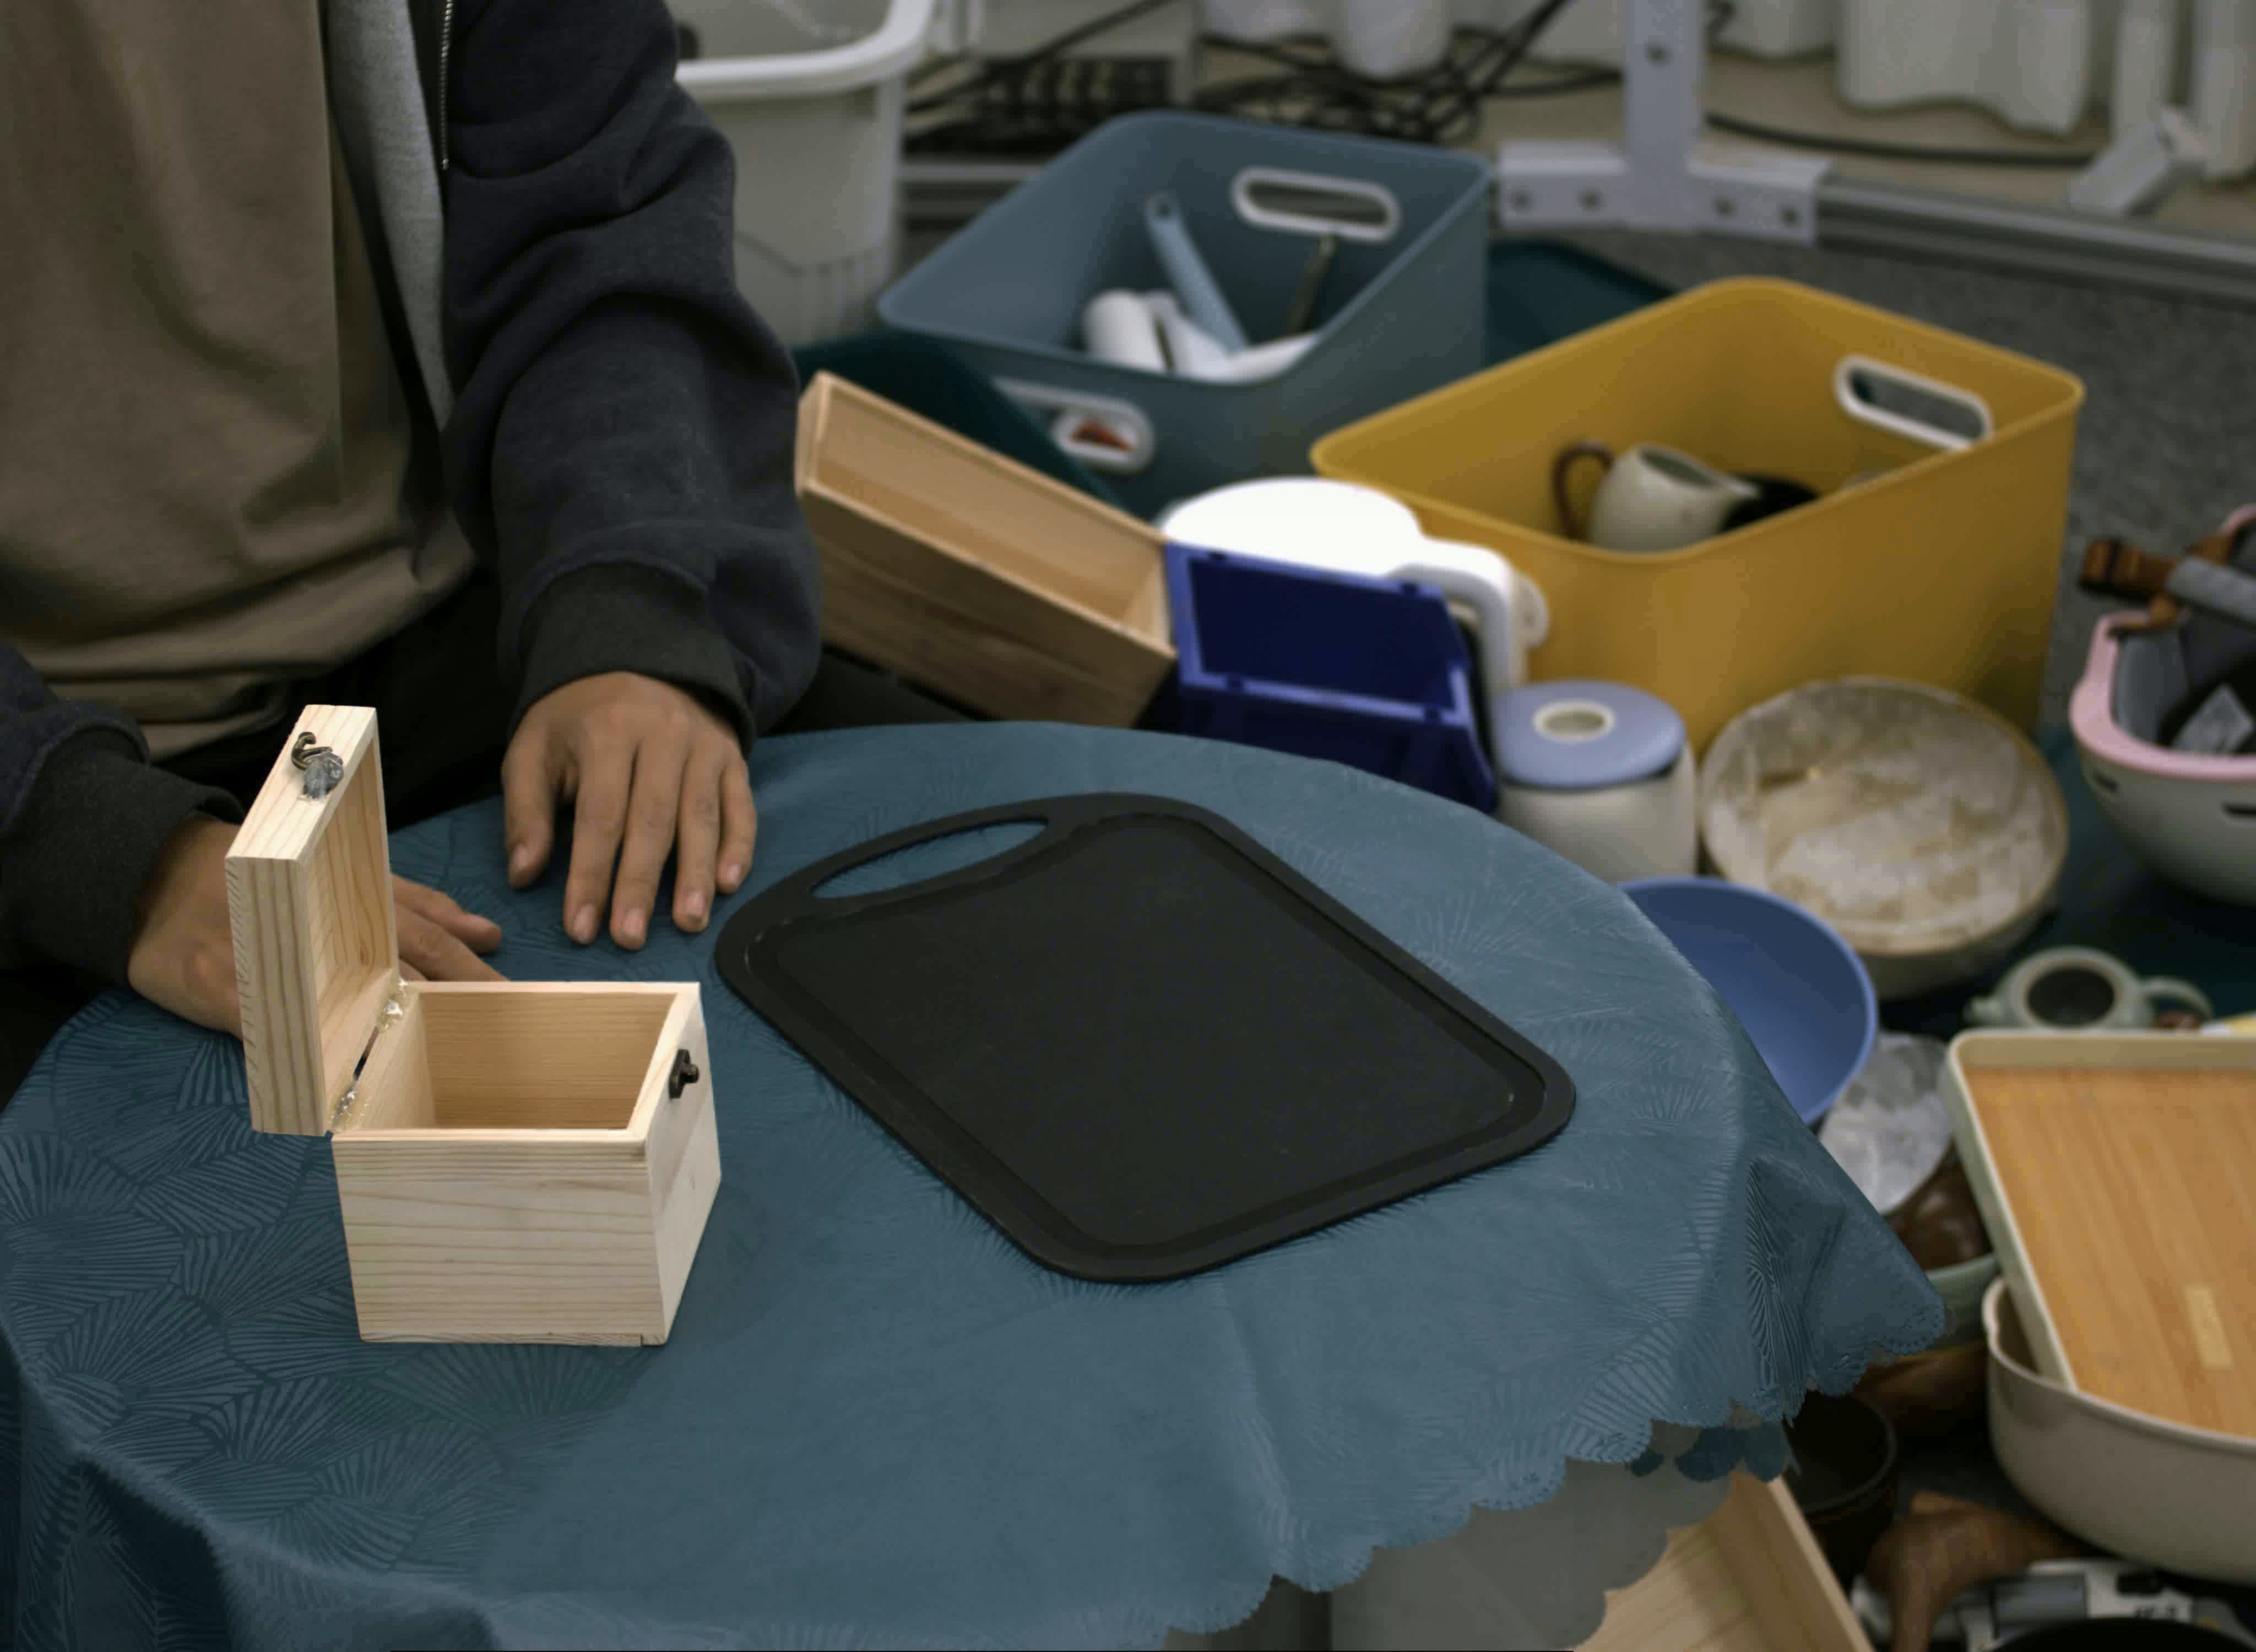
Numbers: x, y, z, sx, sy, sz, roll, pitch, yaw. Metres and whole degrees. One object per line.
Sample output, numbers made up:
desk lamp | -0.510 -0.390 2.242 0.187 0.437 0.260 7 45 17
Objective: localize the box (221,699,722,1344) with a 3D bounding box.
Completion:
box | -0.205 0.062 1.799 0.133 0.182 0.104 -1 27 7

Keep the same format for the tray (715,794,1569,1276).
tray | -0.005 0.064 1.967 0.212 0.009 0.327 -17 31 -25
